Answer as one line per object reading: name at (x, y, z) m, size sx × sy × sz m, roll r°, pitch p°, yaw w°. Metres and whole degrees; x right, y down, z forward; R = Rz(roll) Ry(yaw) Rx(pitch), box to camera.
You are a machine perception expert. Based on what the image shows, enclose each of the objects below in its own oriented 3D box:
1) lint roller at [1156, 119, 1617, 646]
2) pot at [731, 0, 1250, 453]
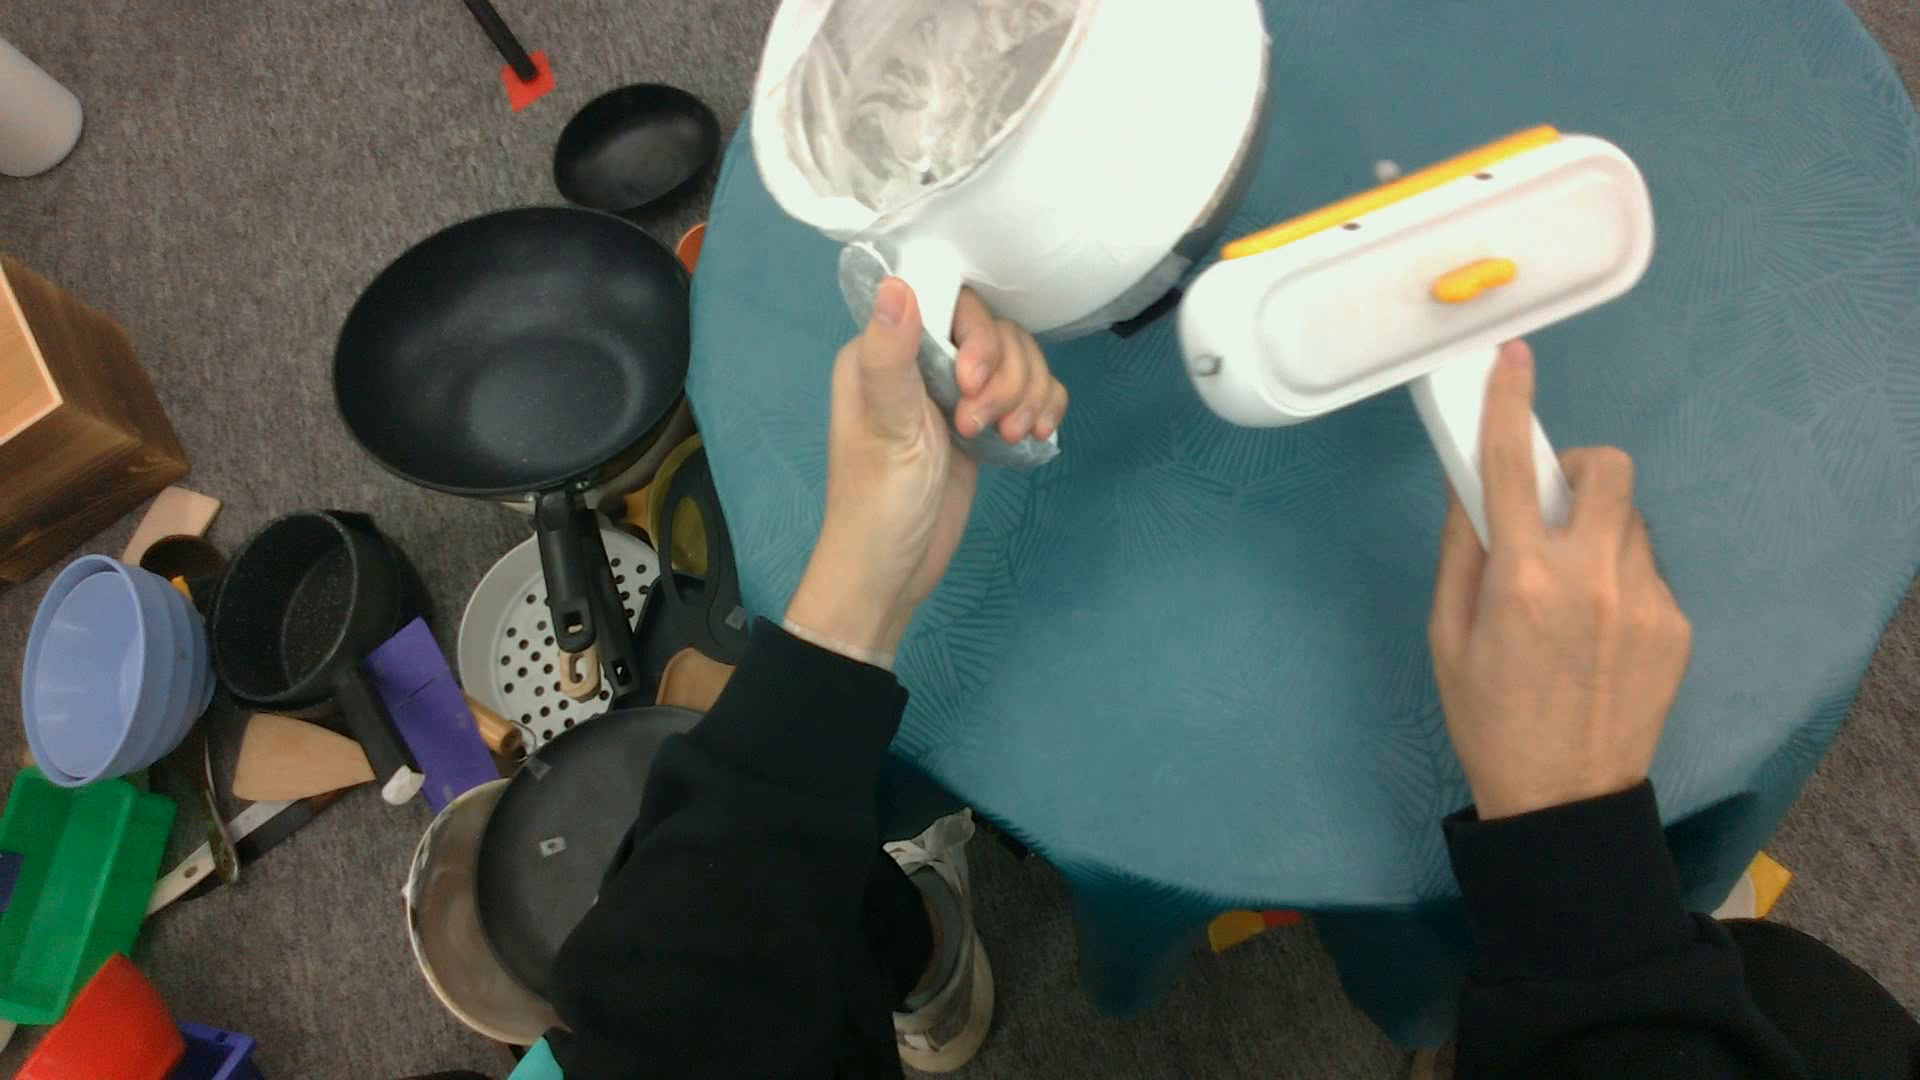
lint roller at (0.190, -0.049, 0.530) m, size 0.193 × 0.074 × 0.192 m, roll -26°, pitch 98°, yaw -17°
pot at (0.011, -0.158, 0.546) m, size 0.178 × 0.136 × 0.234 m, roll -1°, pitch 73°, yaw 42°
